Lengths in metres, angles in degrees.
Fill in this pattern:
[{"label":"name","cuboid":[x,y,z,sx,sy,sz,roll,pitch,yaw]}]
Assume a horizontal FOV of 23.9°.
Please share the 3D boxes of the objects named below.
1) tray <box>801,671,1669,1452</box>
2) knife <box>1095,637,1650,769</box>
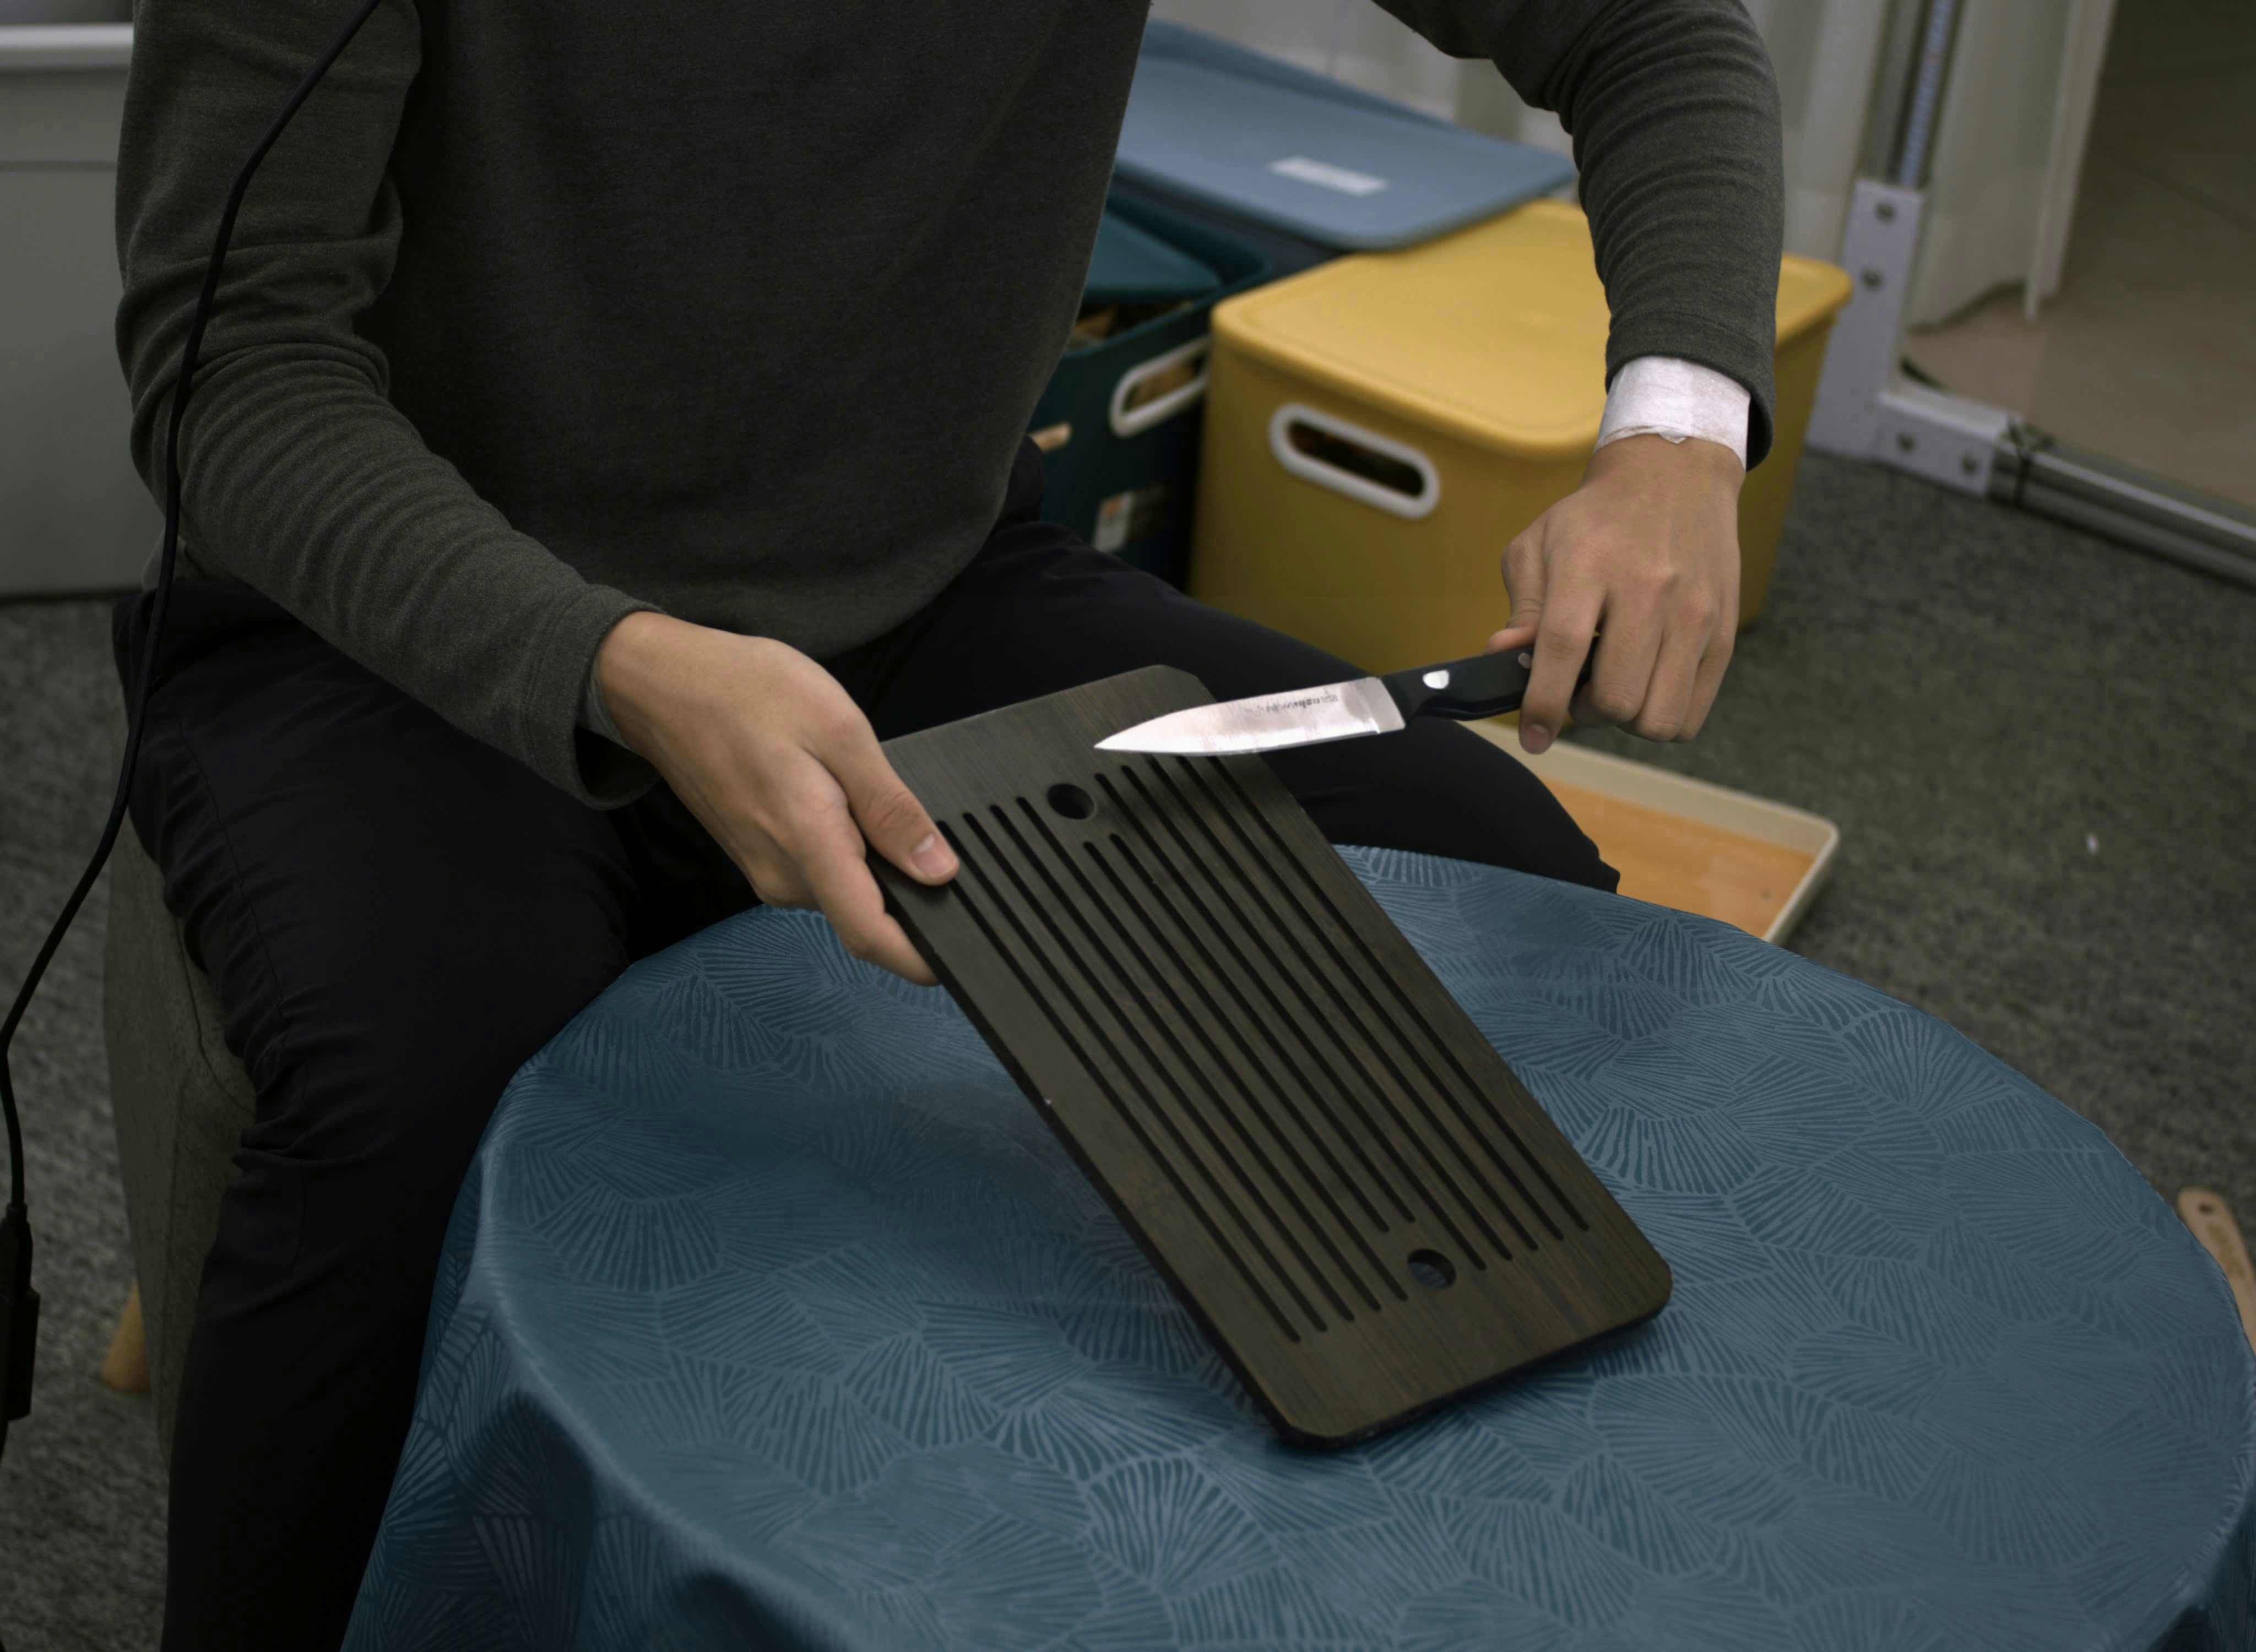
[{"label":"tray","cuboid":[0.033,0.073,1.780,0.169,0.018,0.308,-17,56,-35]},{"label":"knife","cuboid":[0.087,-0.043,1.881,0.236,0.016,0.024,-11,63,-31]}]
